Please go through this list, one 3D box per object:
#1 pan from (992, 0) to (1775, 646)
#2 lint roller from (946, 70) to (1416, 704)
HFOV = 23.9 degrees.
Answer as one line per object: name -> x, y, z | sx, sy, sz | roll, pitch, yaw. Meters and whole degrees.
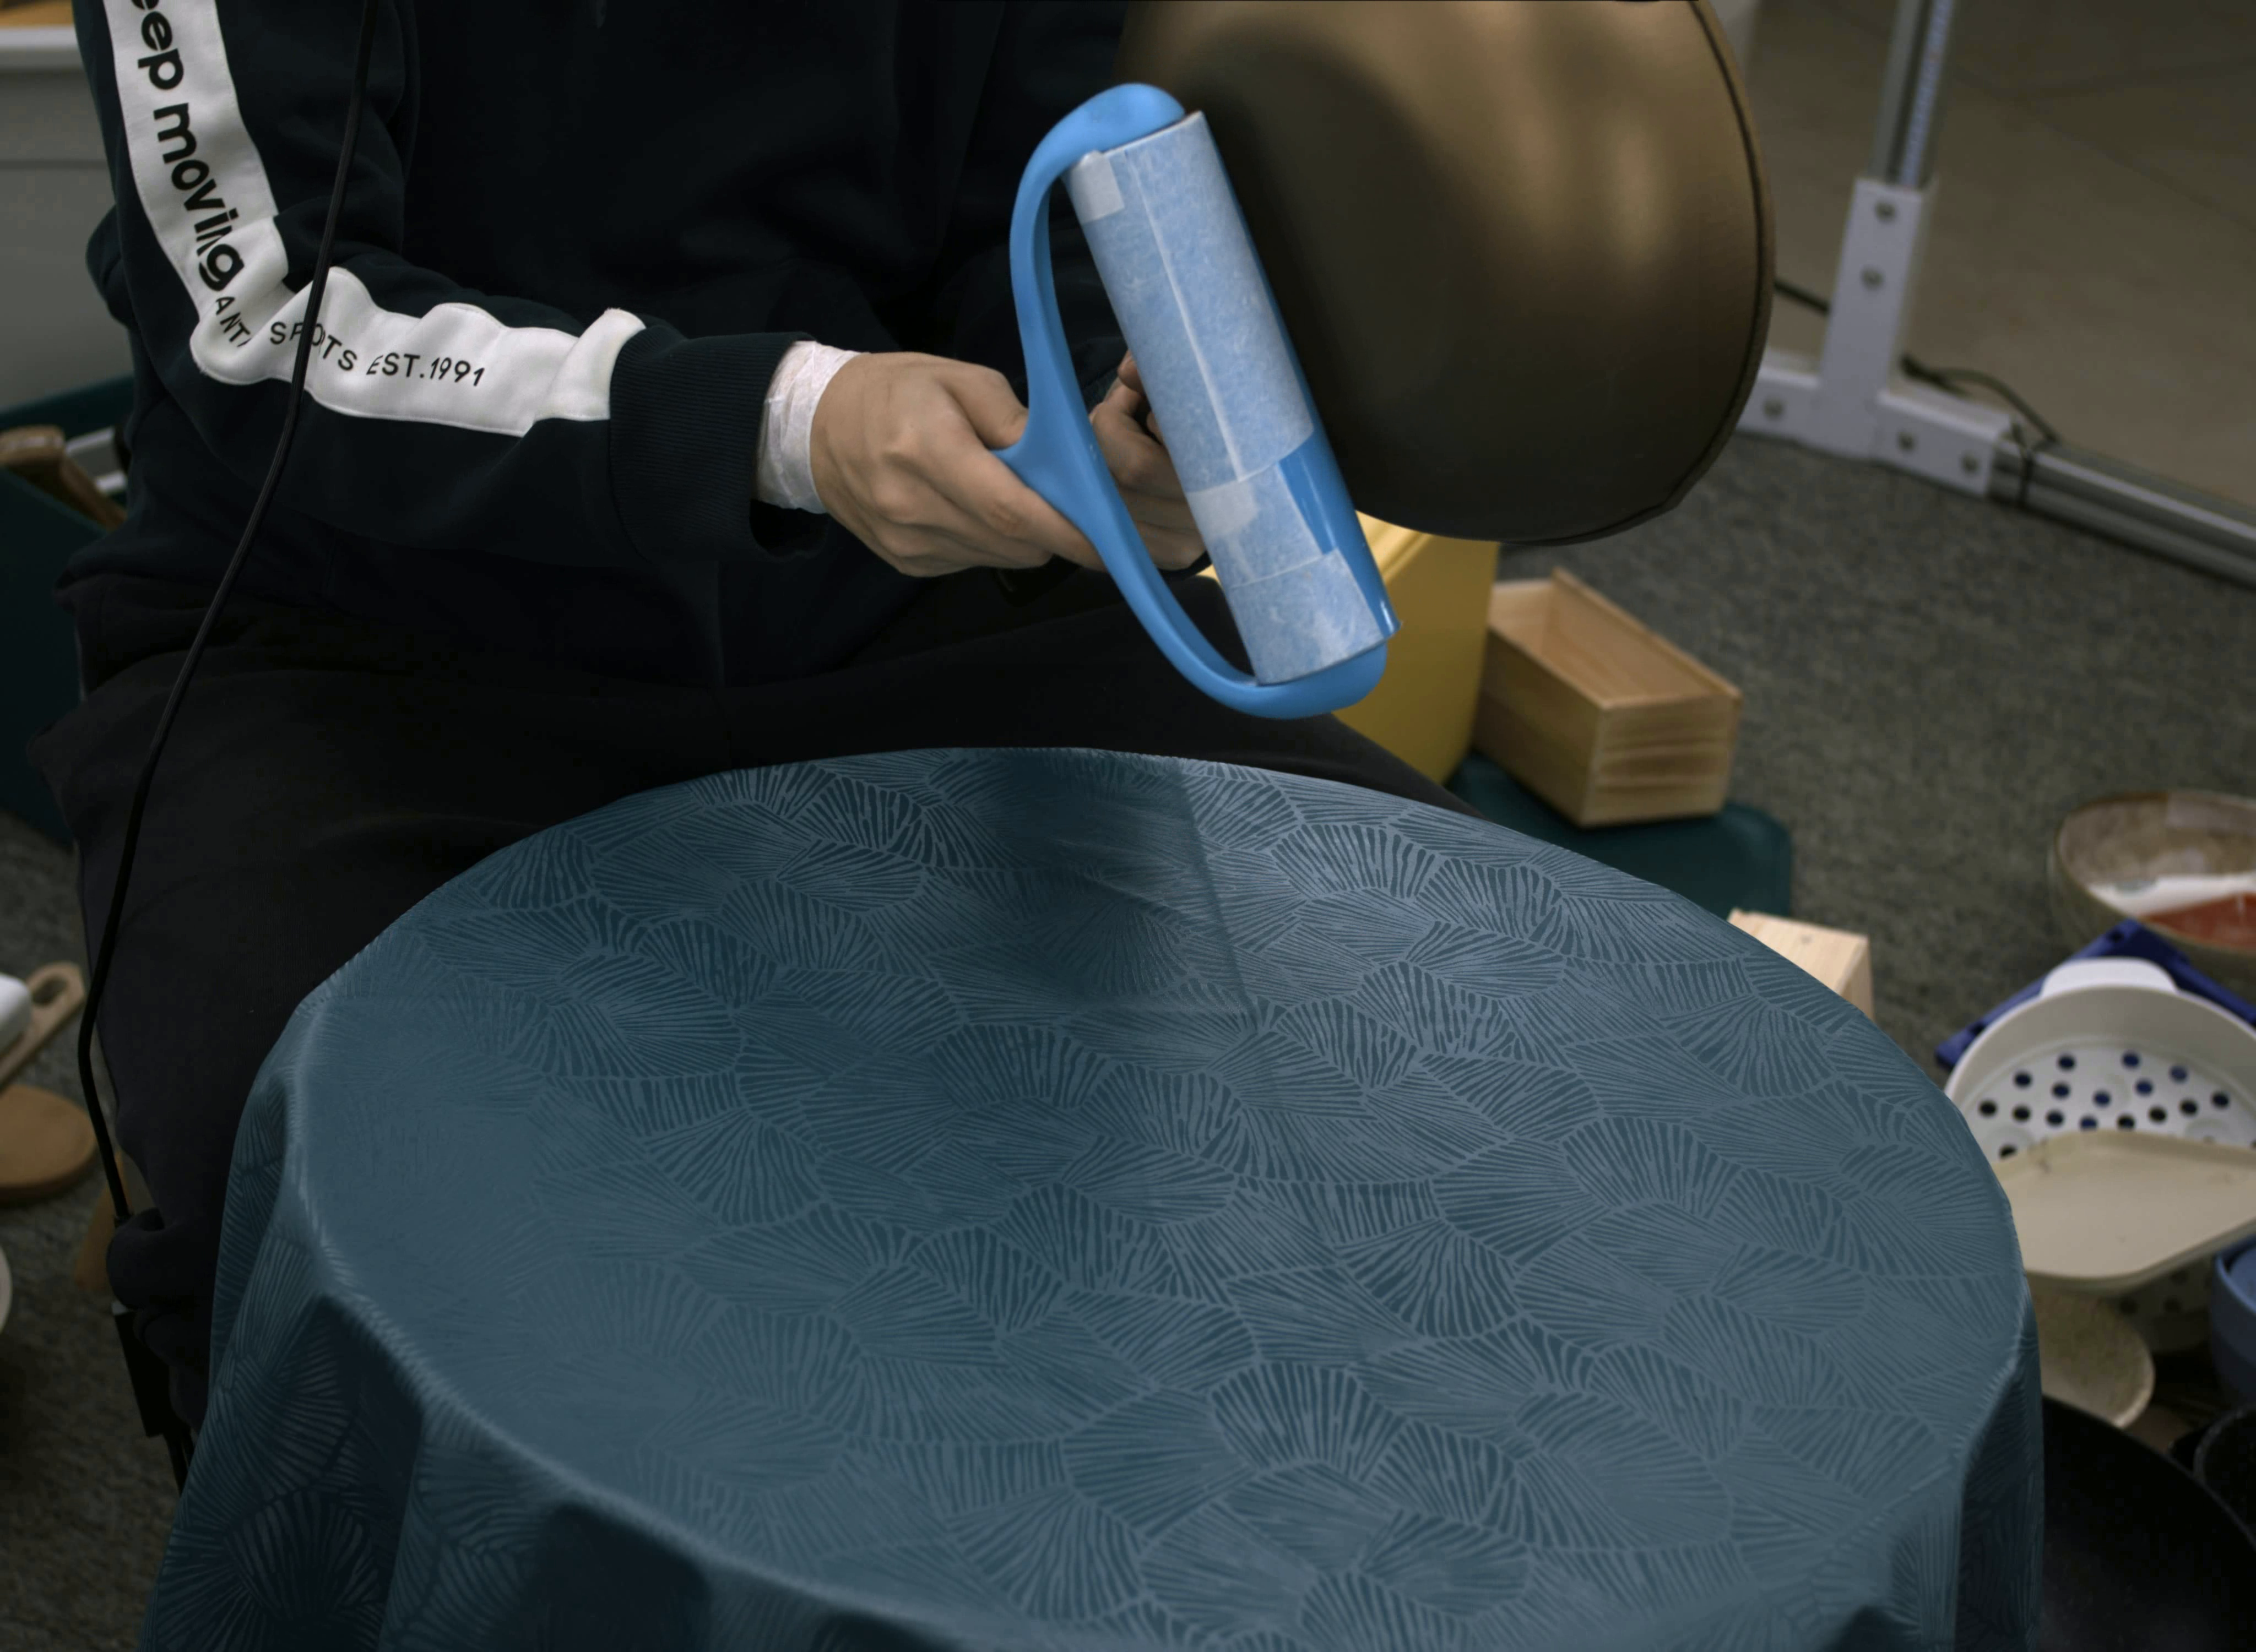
pan -> 0.041, -0.180, 1.915 | 0.086, 0.463, 0.289 | -28, 80, -42
lint roller -> -0.007, -0.135, 1.868 | 0.180, 0.229, 0.068 | -21, 8, 38
